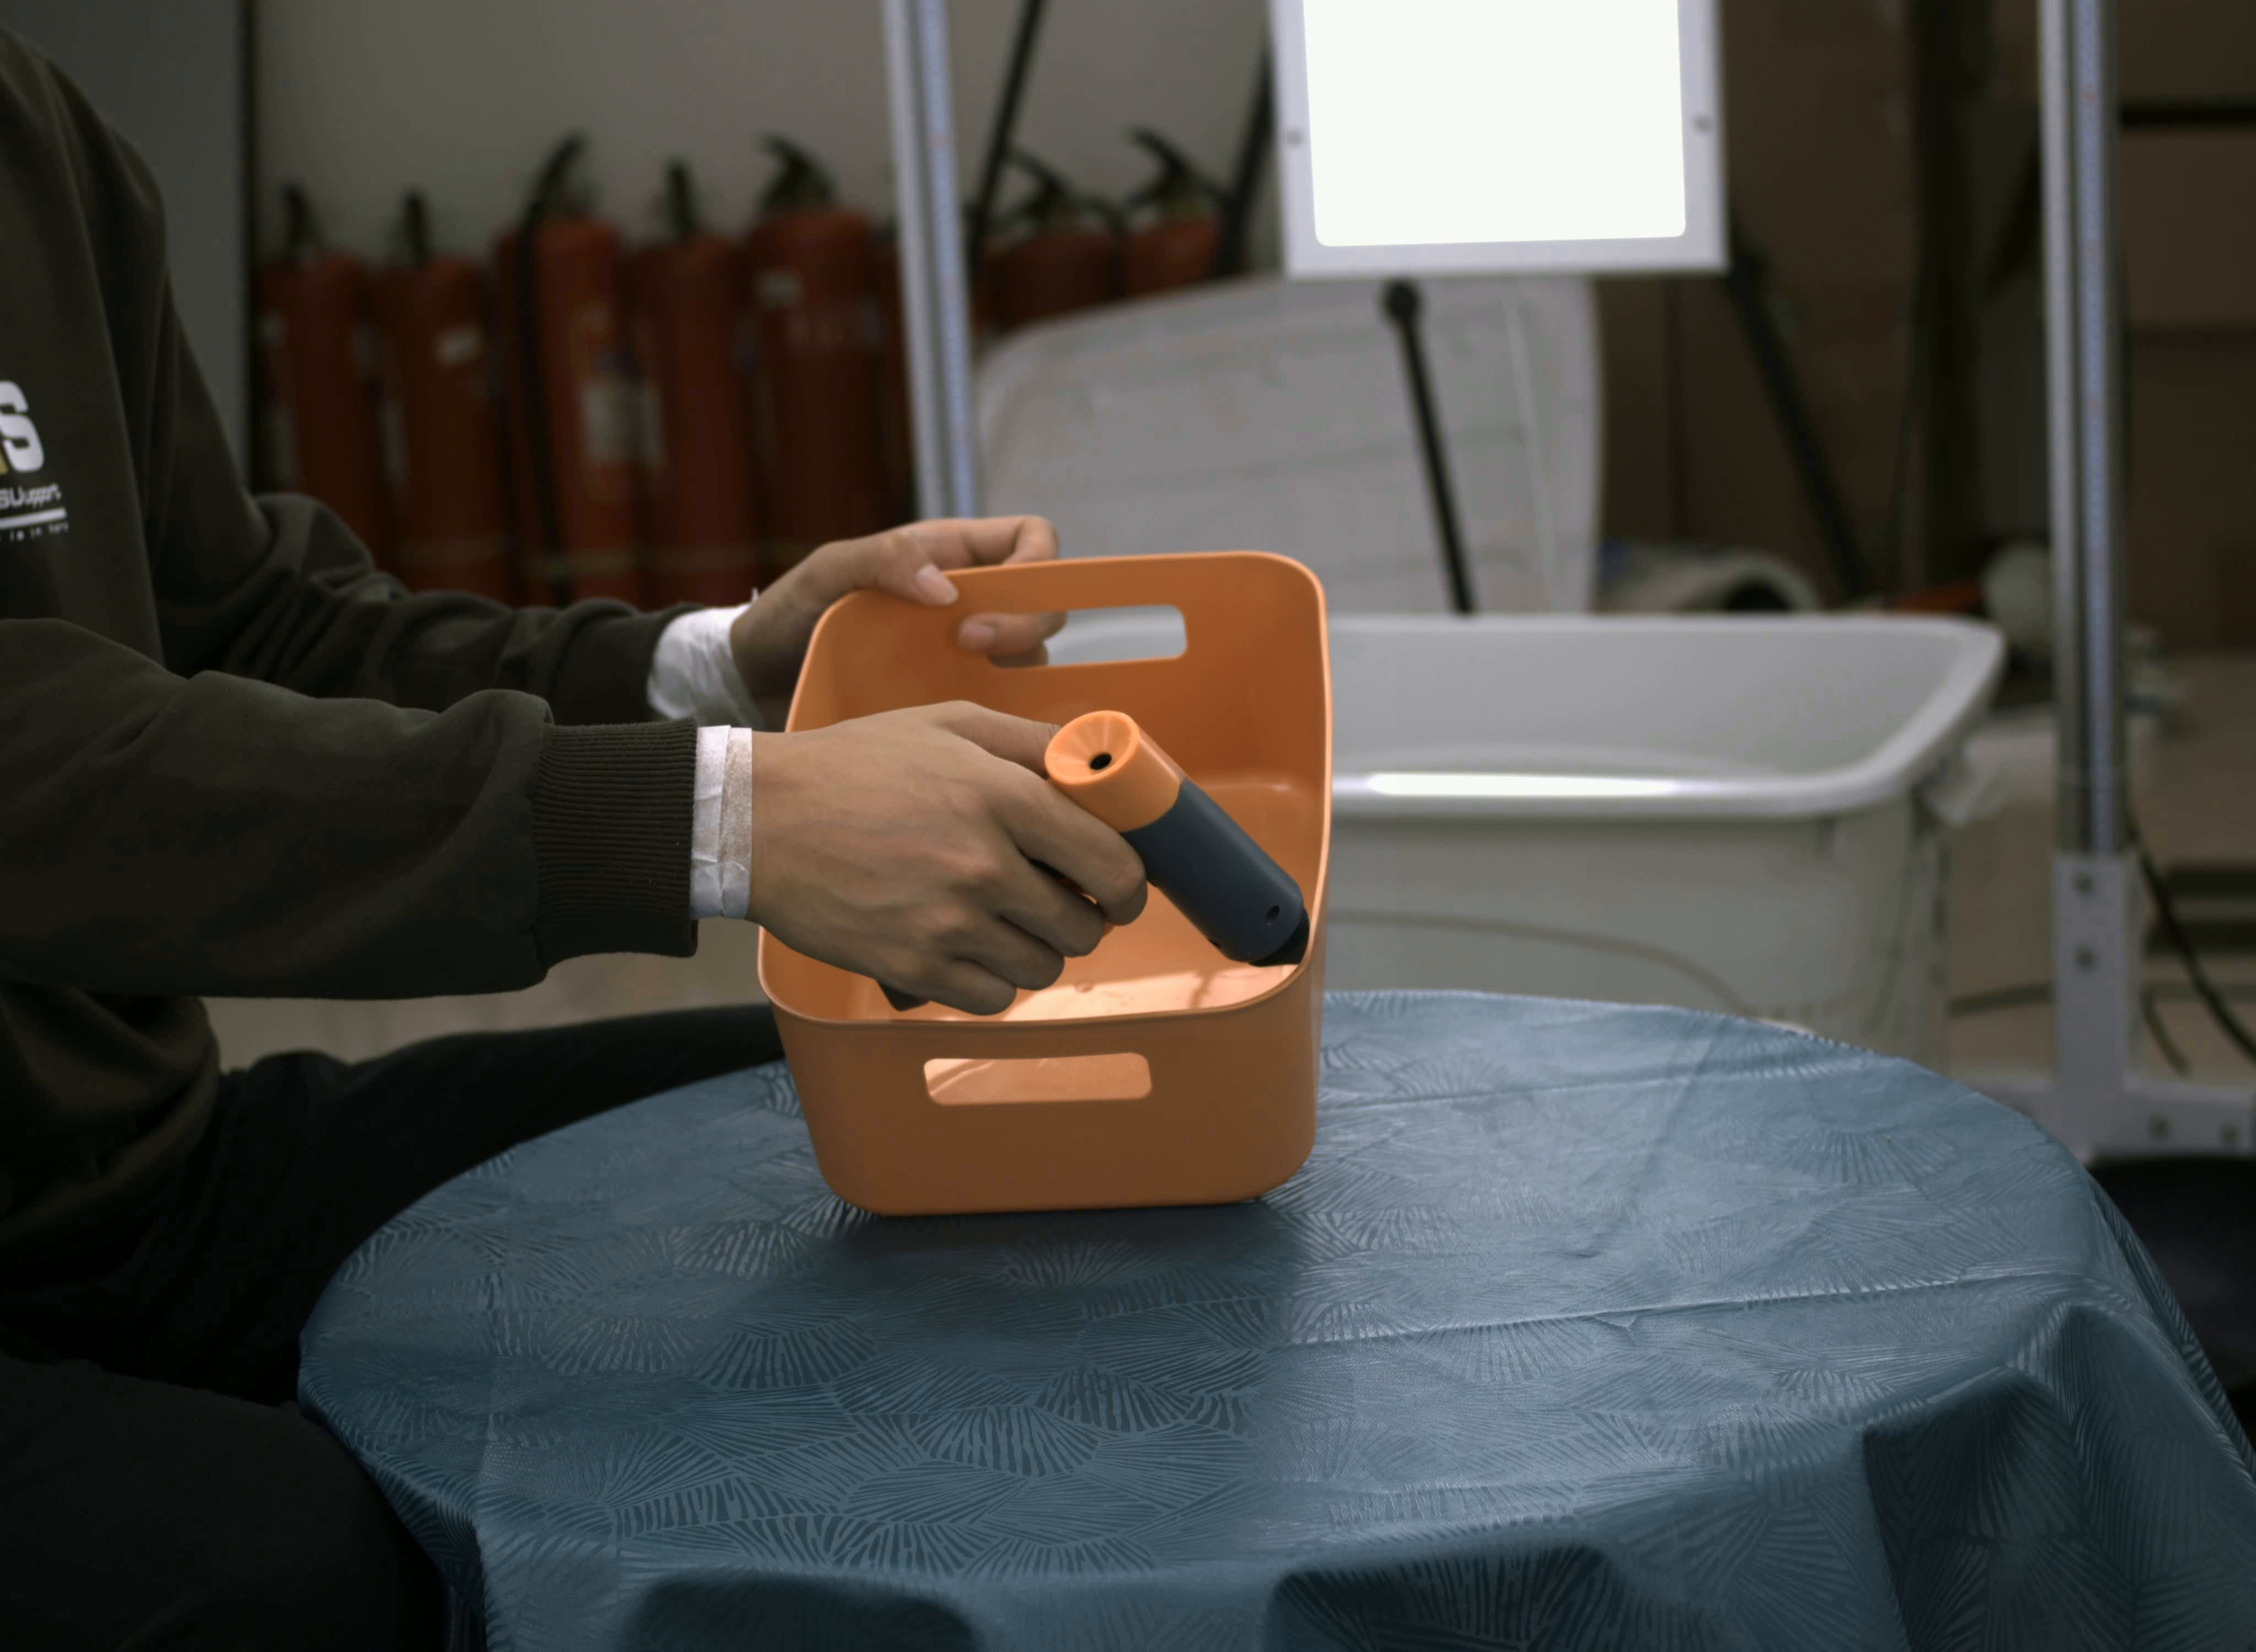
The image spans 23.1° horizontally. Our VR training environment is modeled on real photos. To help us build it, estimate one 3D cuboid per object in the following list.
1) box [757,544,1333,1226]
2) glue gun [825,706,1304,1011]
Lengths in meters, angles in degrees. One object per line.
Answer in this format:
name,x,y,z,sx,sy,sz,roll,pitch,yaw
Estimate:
box,-0.021,0.023,1.953,0.200,0.102,0.271,-5,37,8
glue gun,-0.020,0.019,1.810,0.141,0.117,0.041,-12,41,16
